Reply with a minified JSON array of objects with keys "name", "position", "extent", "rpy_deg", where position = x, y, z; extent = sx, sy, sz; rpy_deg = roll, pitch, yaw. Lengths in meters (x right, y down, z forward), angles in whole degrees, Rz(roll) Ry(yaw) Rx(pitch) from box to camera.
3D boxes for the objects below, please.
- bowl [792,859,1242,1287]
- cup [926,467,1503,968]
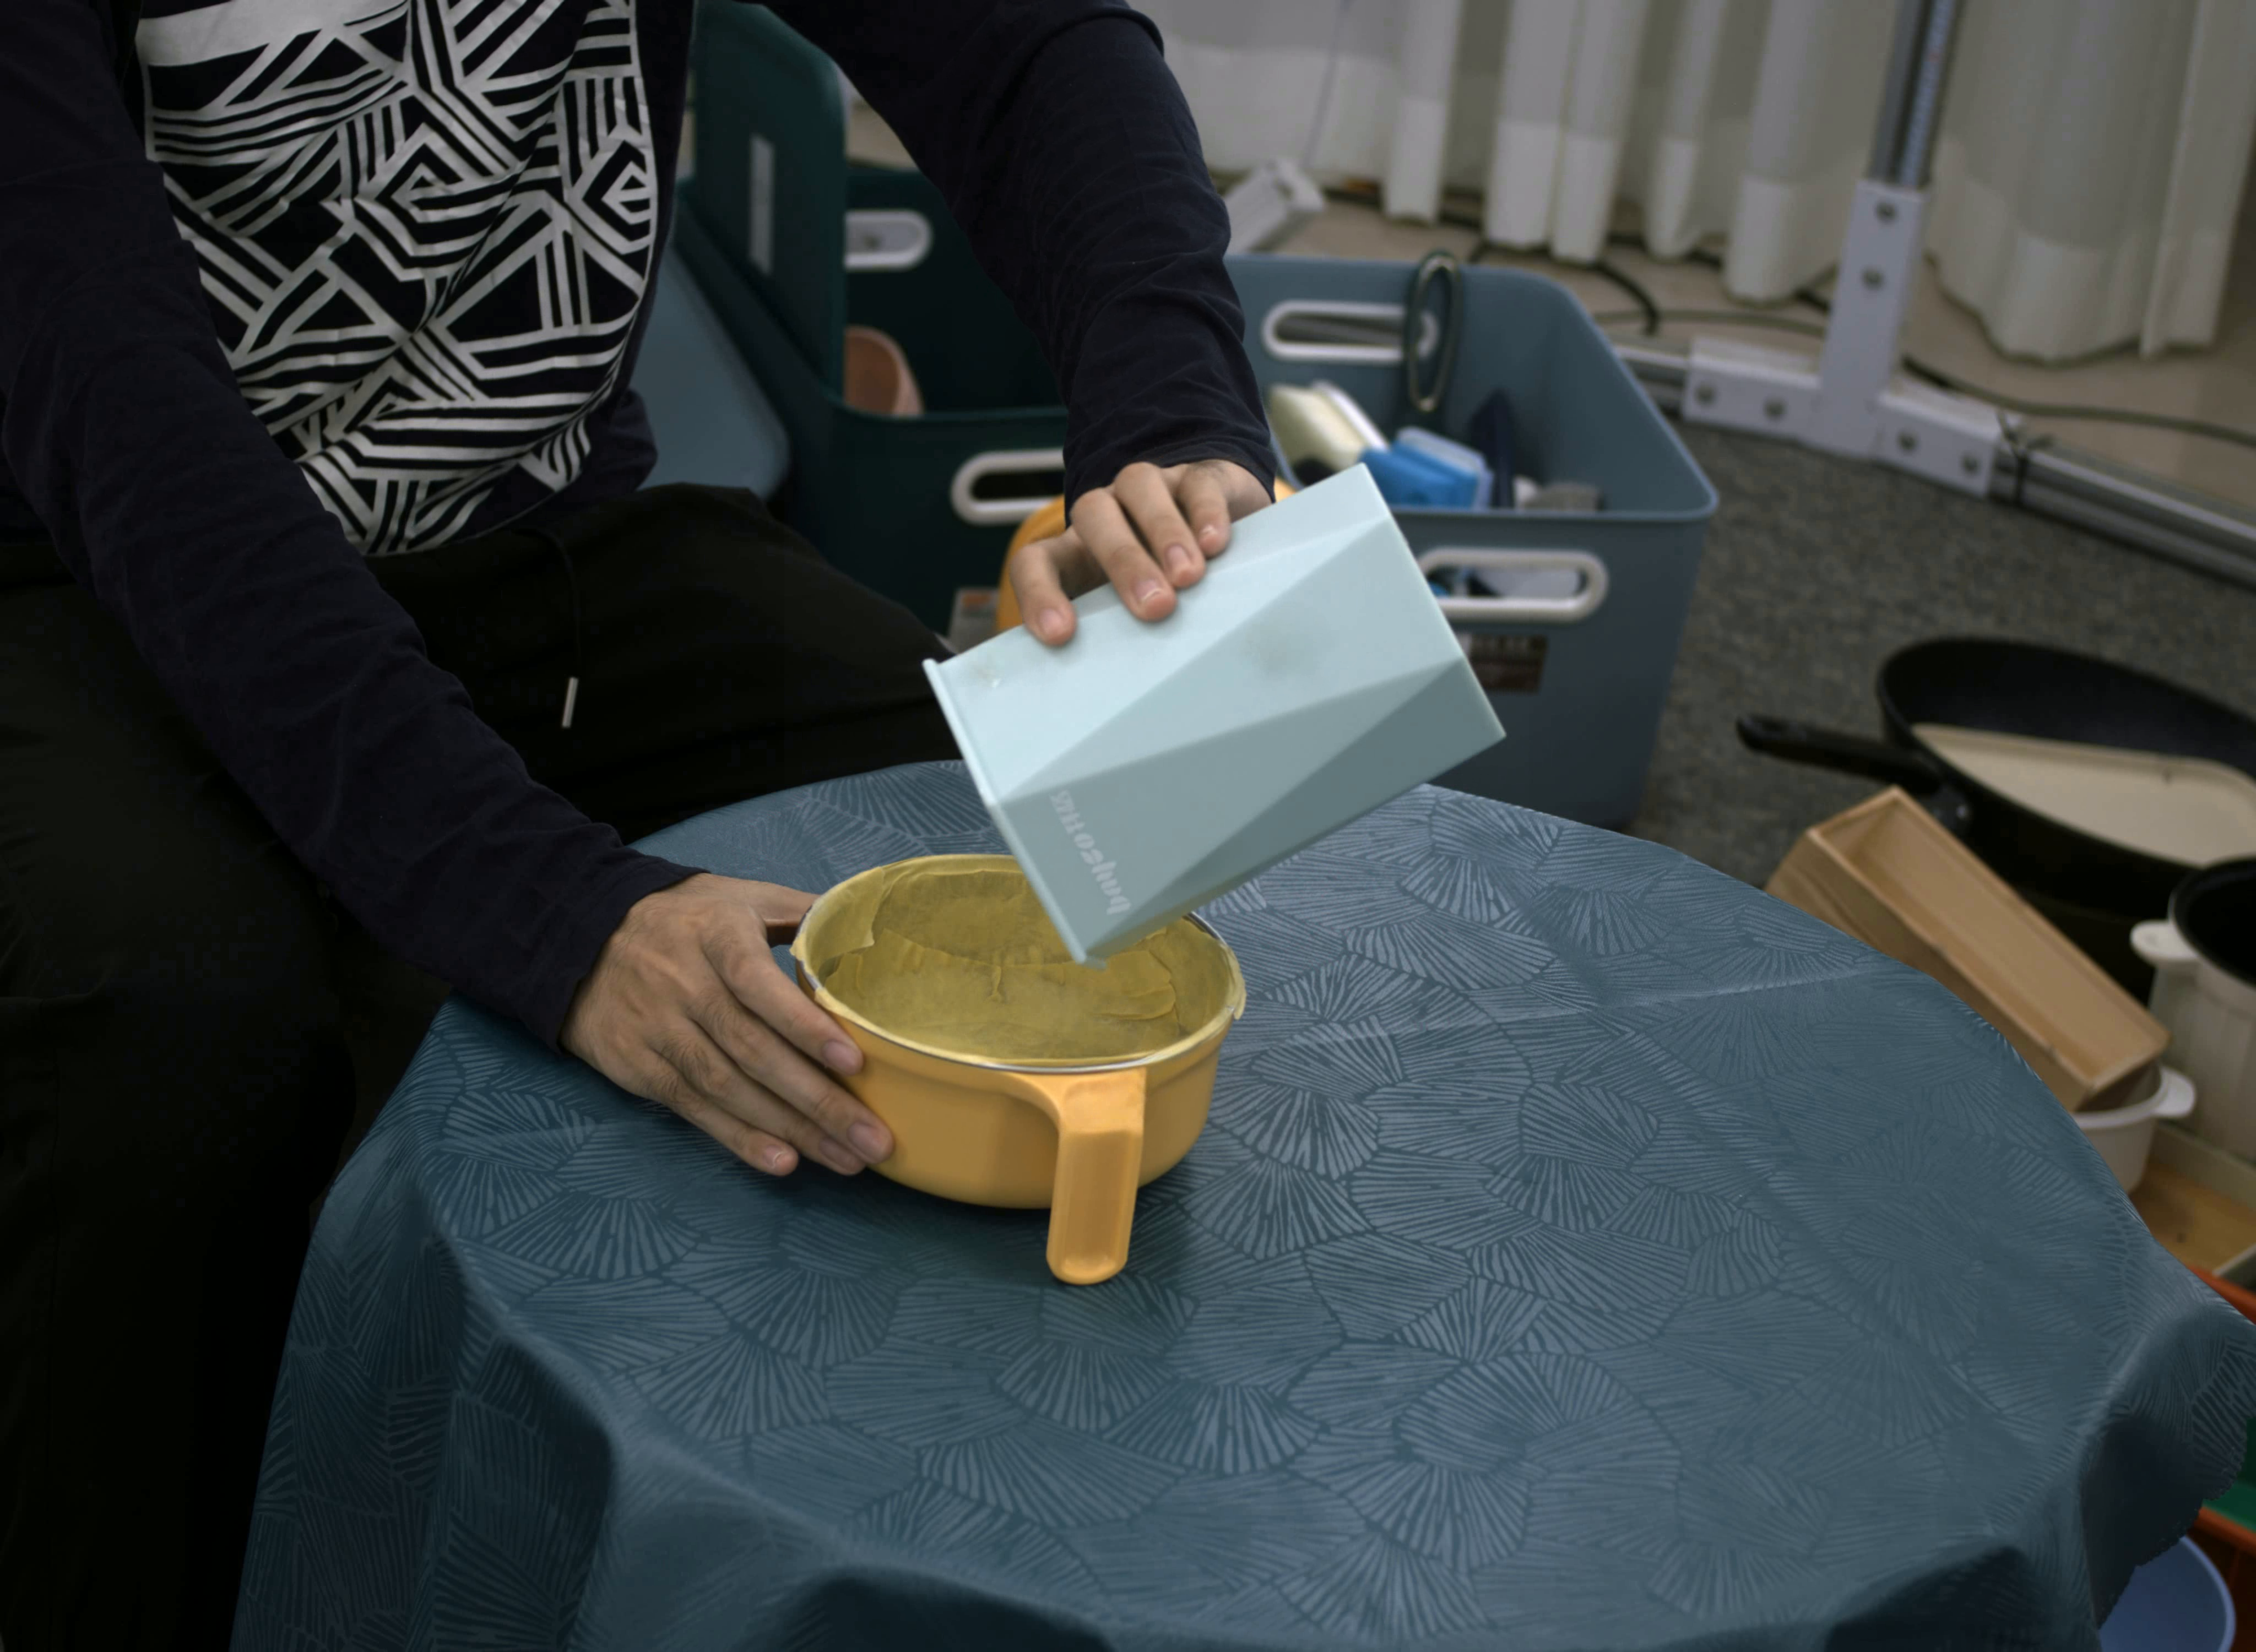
[{"name":"bowl","position":[-0.036,0.081,1.810],"extent":[0.152,0.074,0.181],"rpy_deg":[-4,27,-21]},{"name":"cup","position":[0.031,-0.040,1.787],"extent":[0.163,0.130,0.116],"rpy_deg":[-26,21,5]}]
